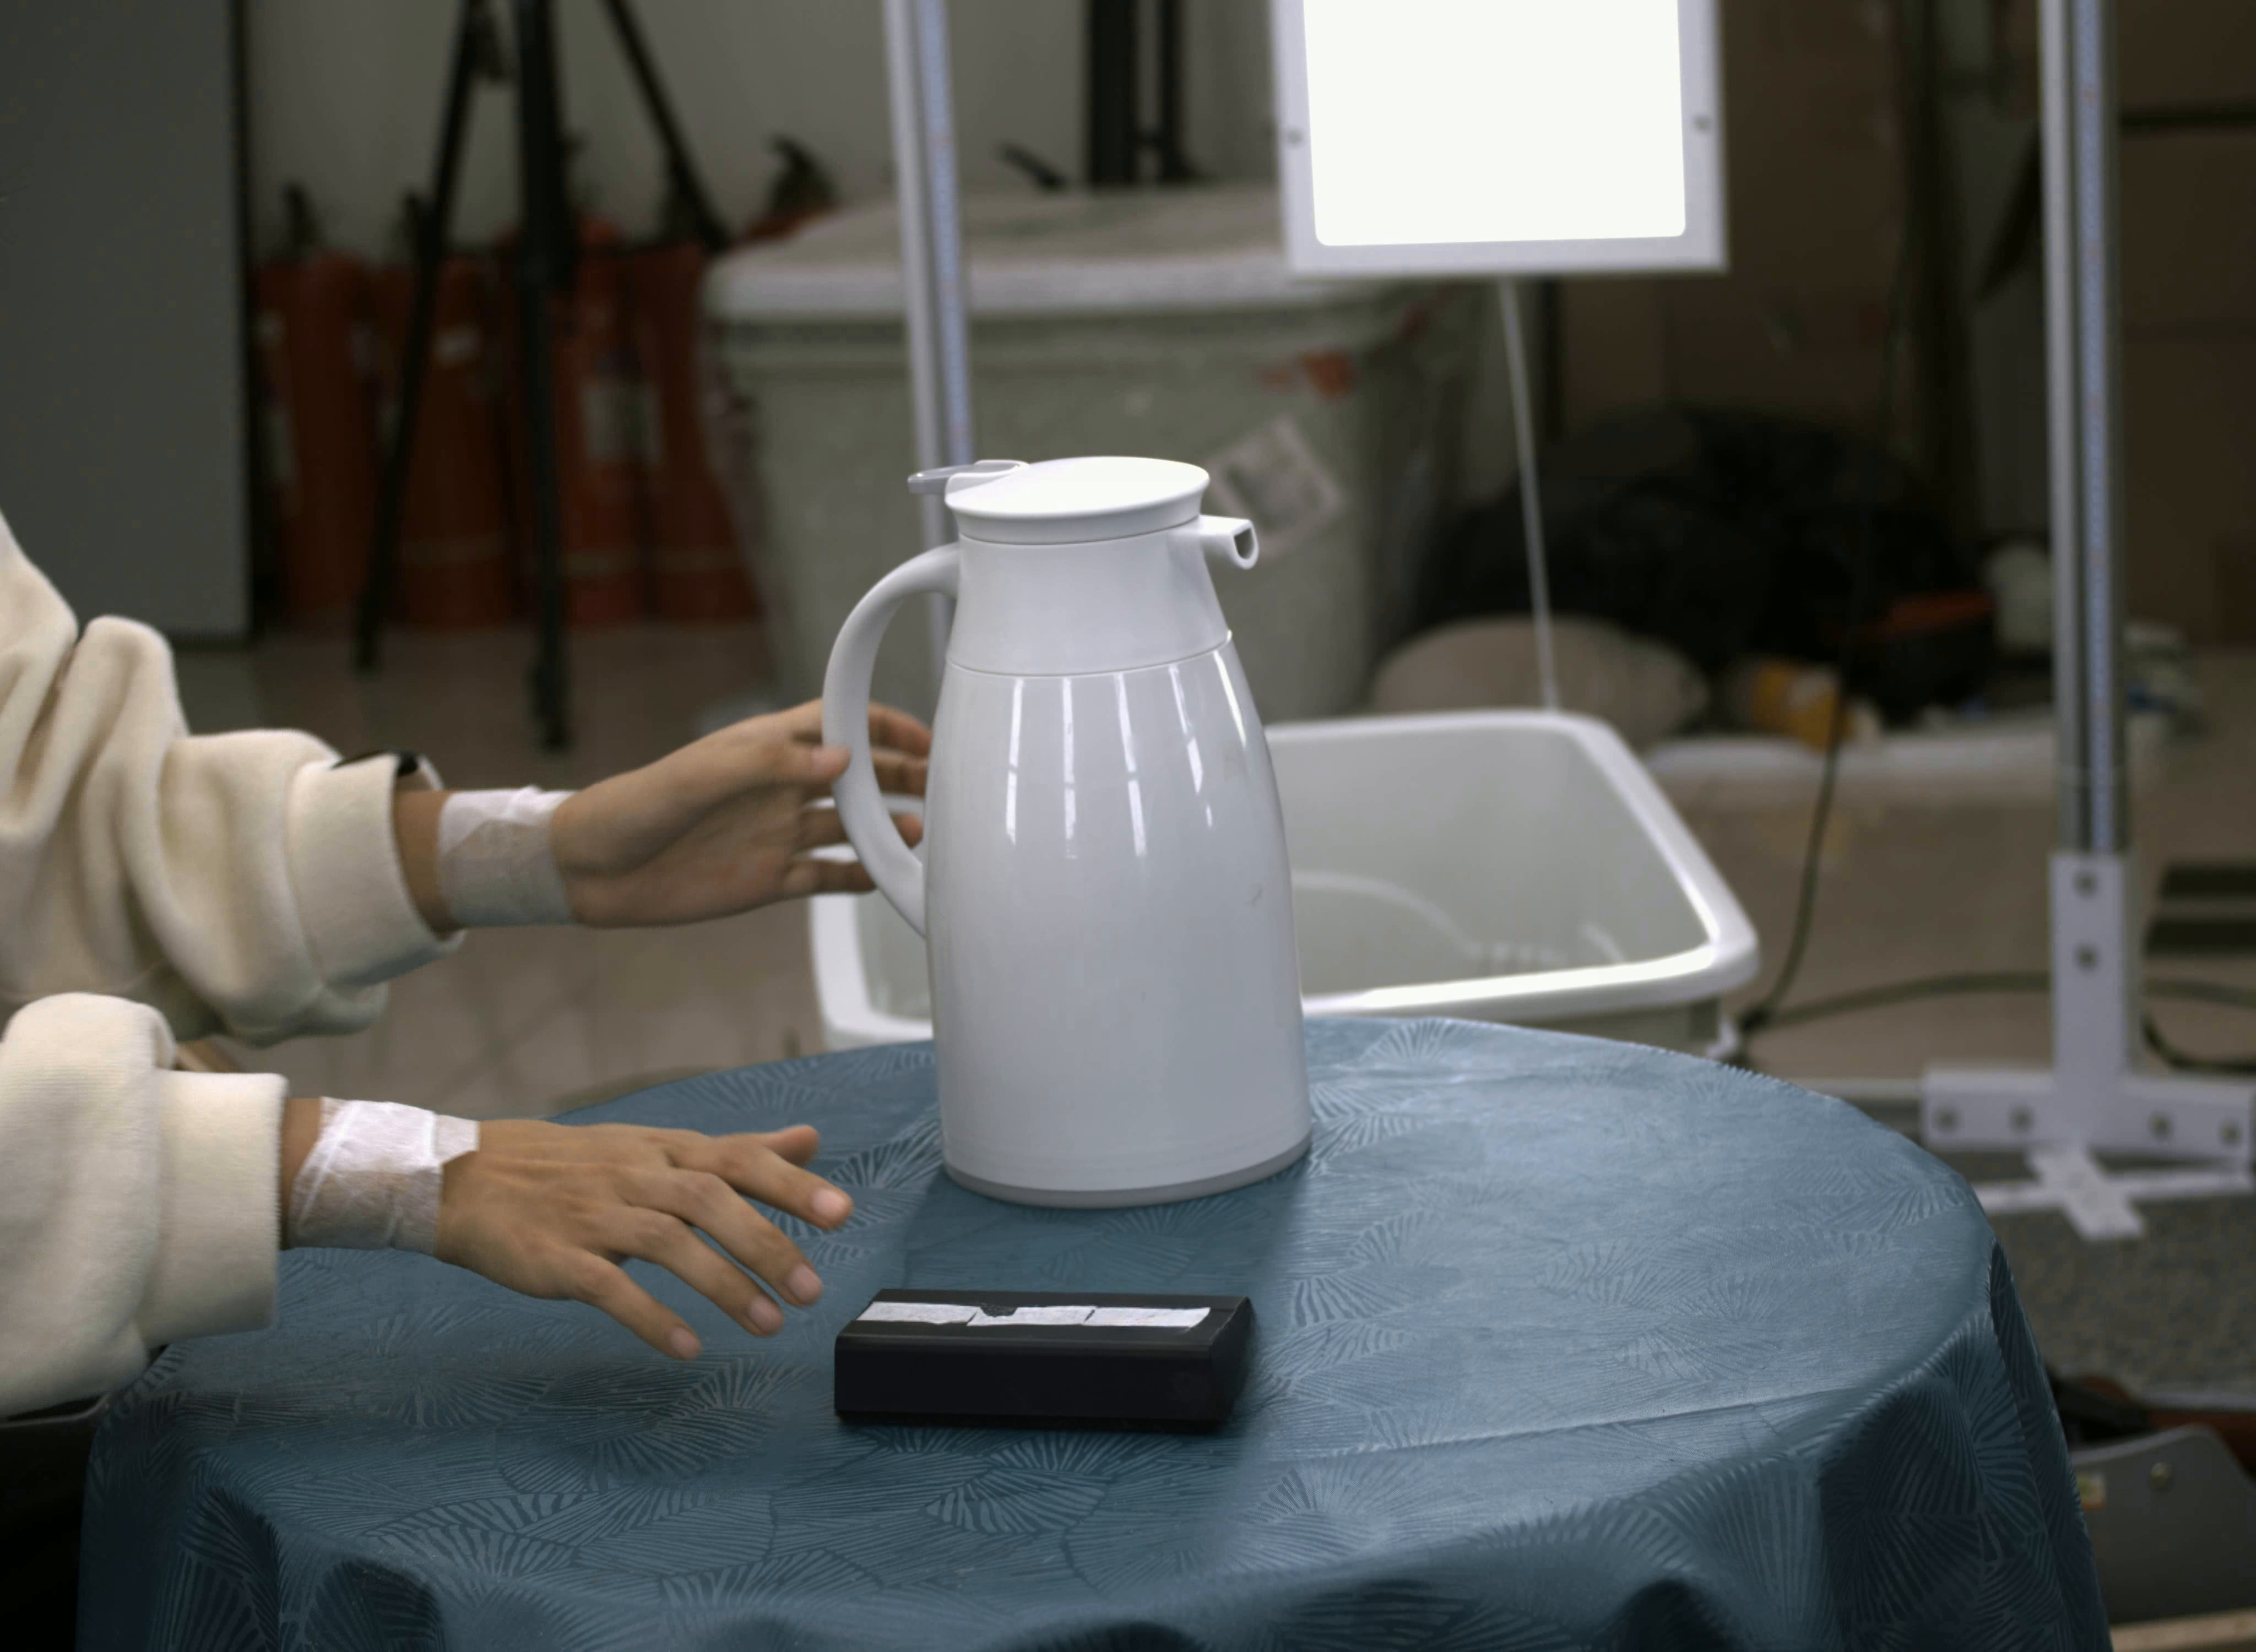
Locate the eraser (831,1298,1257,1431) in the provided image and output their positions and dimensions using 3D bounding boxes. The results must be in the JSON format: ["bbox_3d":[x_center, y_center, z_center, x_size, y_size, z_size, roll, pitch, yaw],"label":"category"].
[{"bbox_3d":[-0.024,0.165,1.691,0.127,0.030,0.053,-1,12,17],"label":"eraser"}]

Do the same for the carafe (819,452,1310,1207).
[{"bbox_3d":[-0.028,-0.005,1.922,0.170,0.249,0.130,1,15,25],"label":"carafe"}]
